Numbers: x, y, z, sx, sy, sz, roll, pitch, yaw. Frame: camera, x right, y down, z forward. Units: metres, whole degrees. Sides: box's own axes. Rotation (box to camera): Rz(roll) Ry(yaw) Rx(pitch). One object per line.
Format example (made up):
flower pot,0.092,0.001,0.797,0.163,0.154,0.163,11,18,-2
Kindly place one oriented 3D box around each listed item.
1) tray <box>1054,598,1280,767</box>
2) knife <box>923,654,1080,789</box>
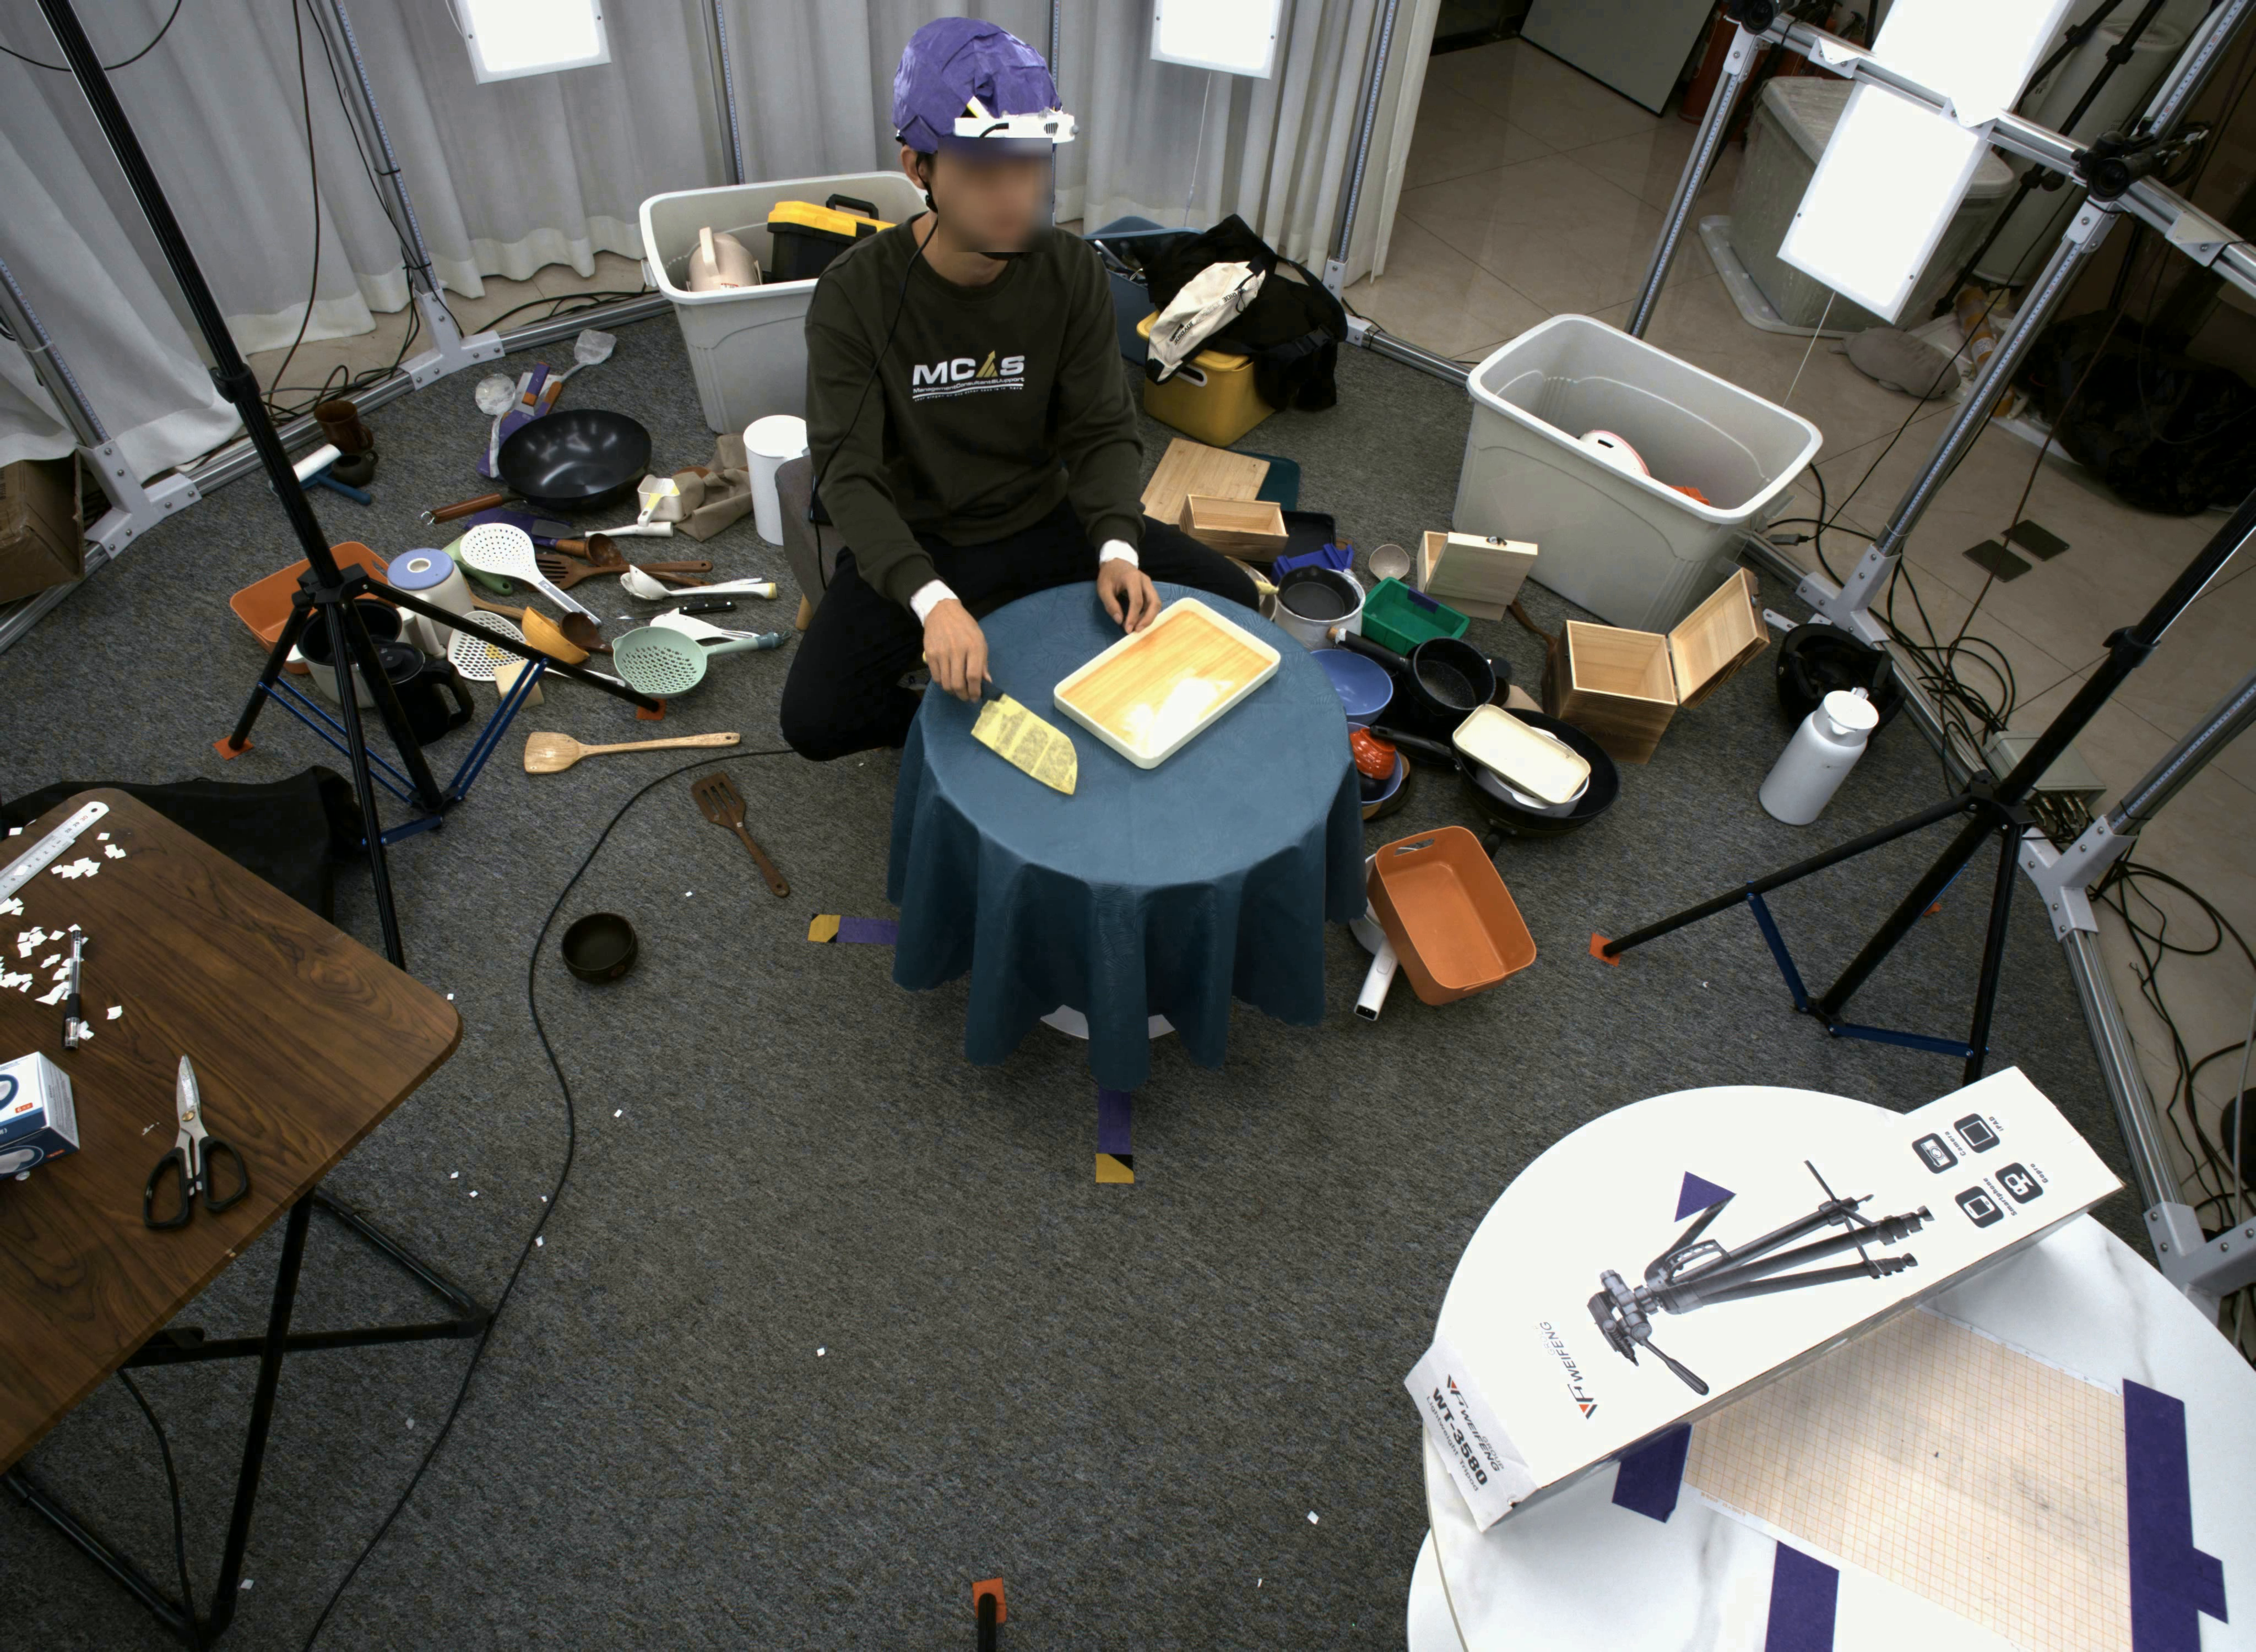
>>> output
tray,0.058,-0.212,1.837,0.194,0.027,0.303,36,56,25
knife,-0.175,-0.142,1.735,0.293,0.027,0.081,38,95,20
